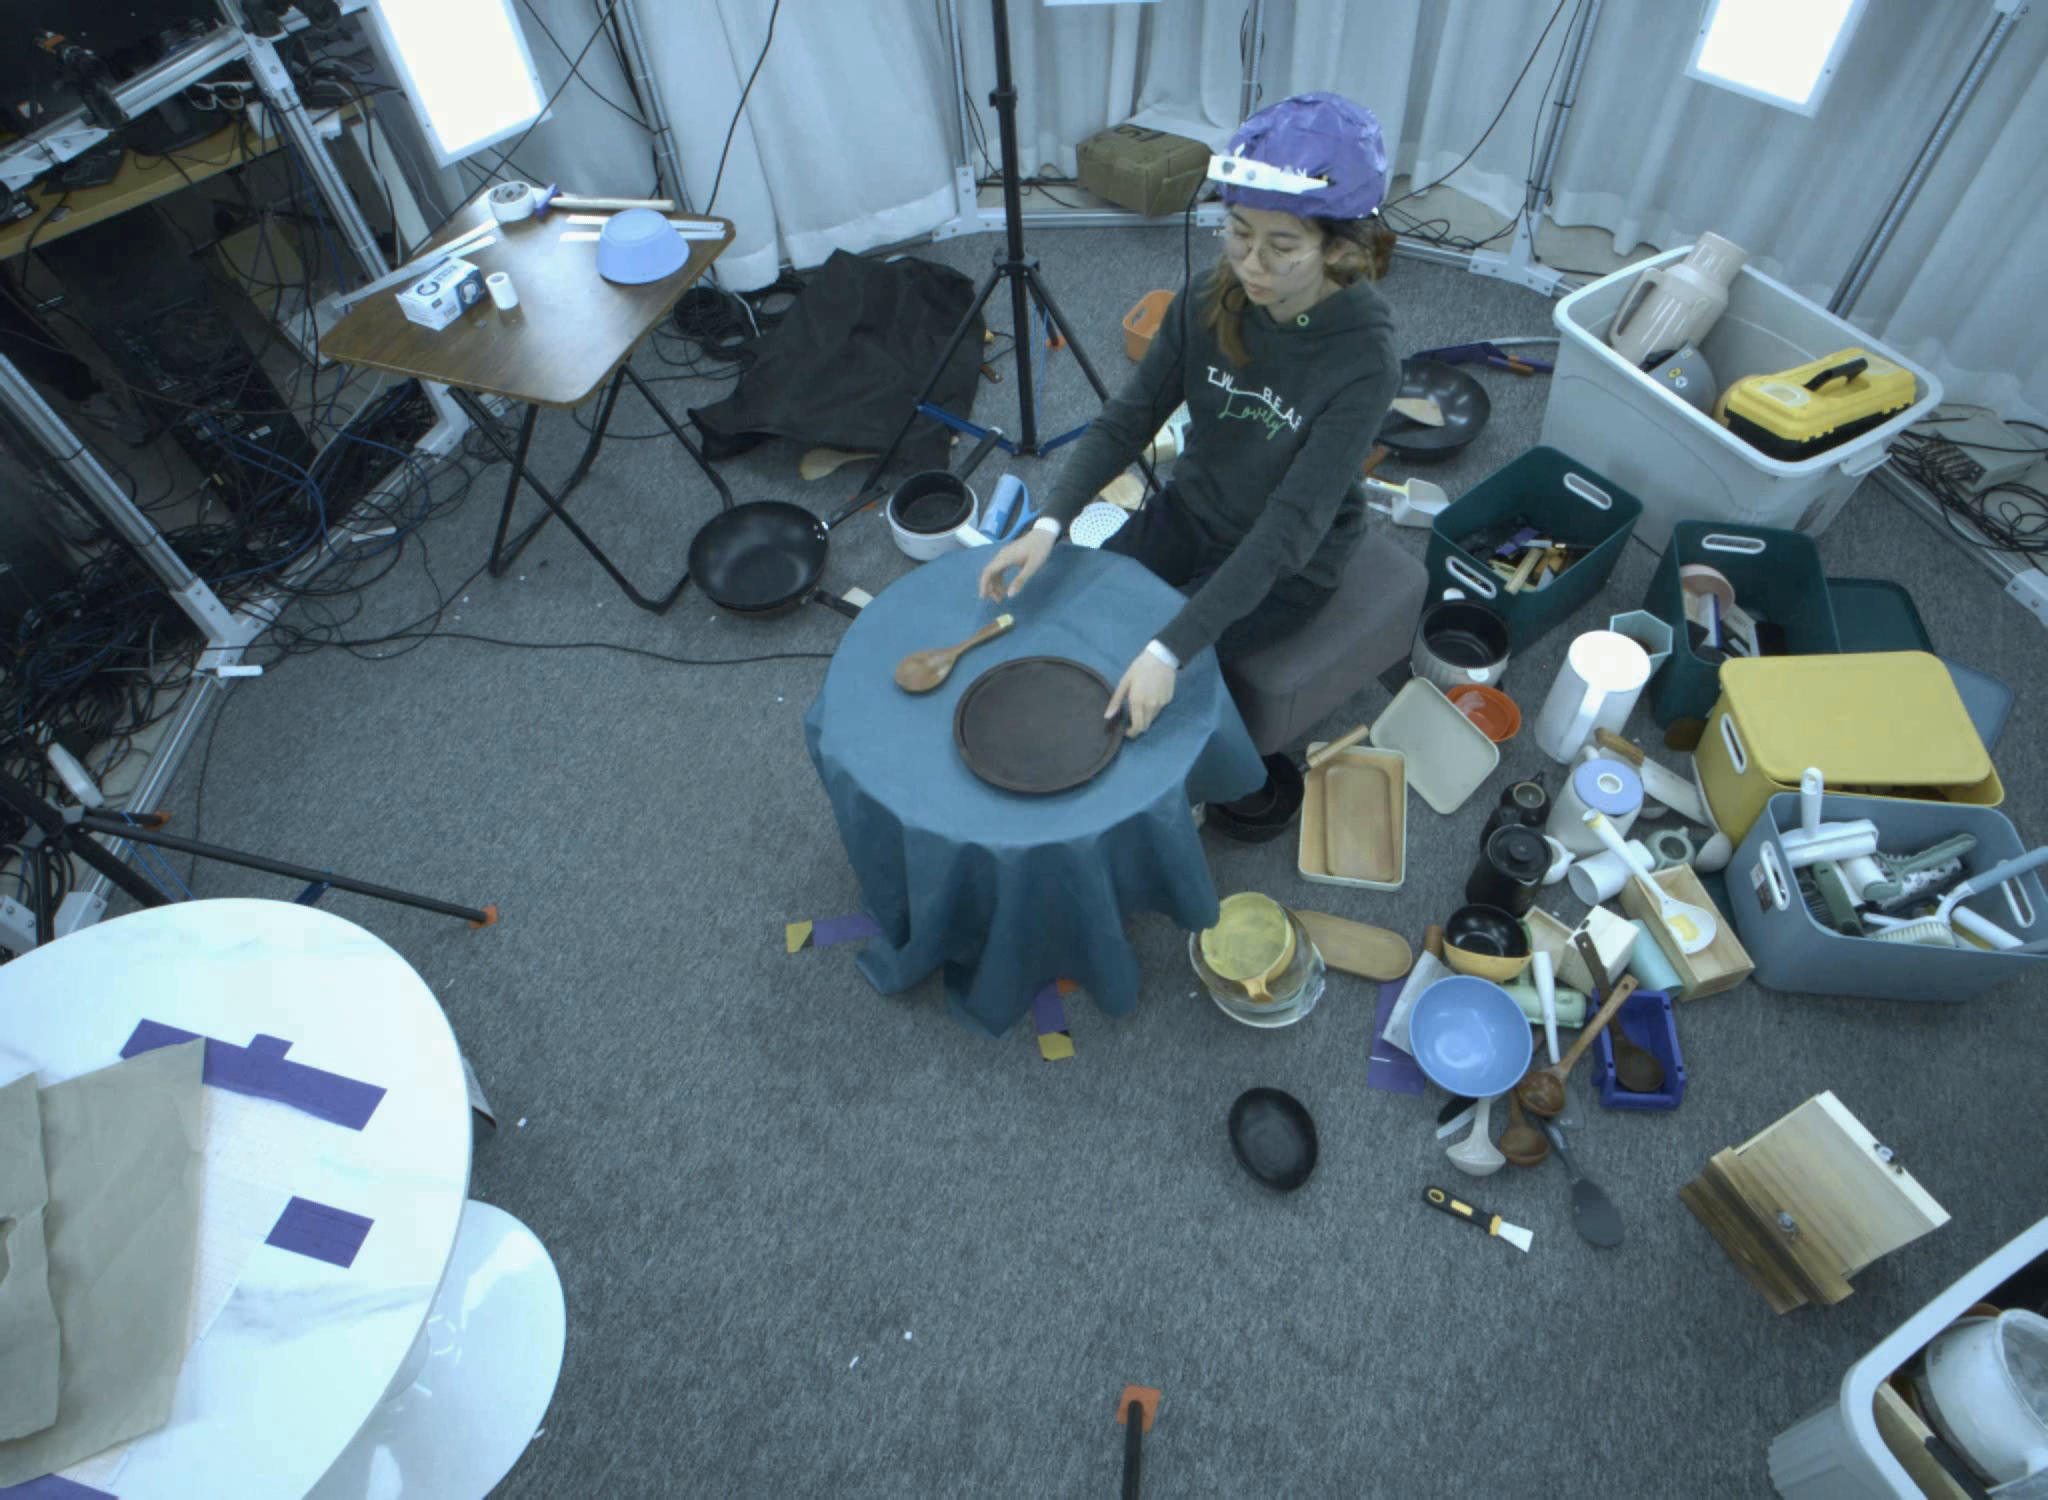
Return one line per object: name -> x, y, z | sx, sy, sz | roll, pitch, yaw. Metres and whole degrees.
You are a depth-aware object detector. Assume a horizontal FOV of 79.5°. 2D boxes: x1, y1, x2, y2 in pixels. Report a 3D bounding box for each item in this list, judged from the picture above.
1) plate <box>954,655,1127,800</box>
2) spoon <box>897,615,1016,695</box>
plate -> 0.024, -0.032, 1.806 | 0.254, 0.029, 0.252 | 0, 56, 2
spoon -> -0.101, -0.148, 1.895 | 0.217, 0.017, 0.074 | -34, 61, -20
